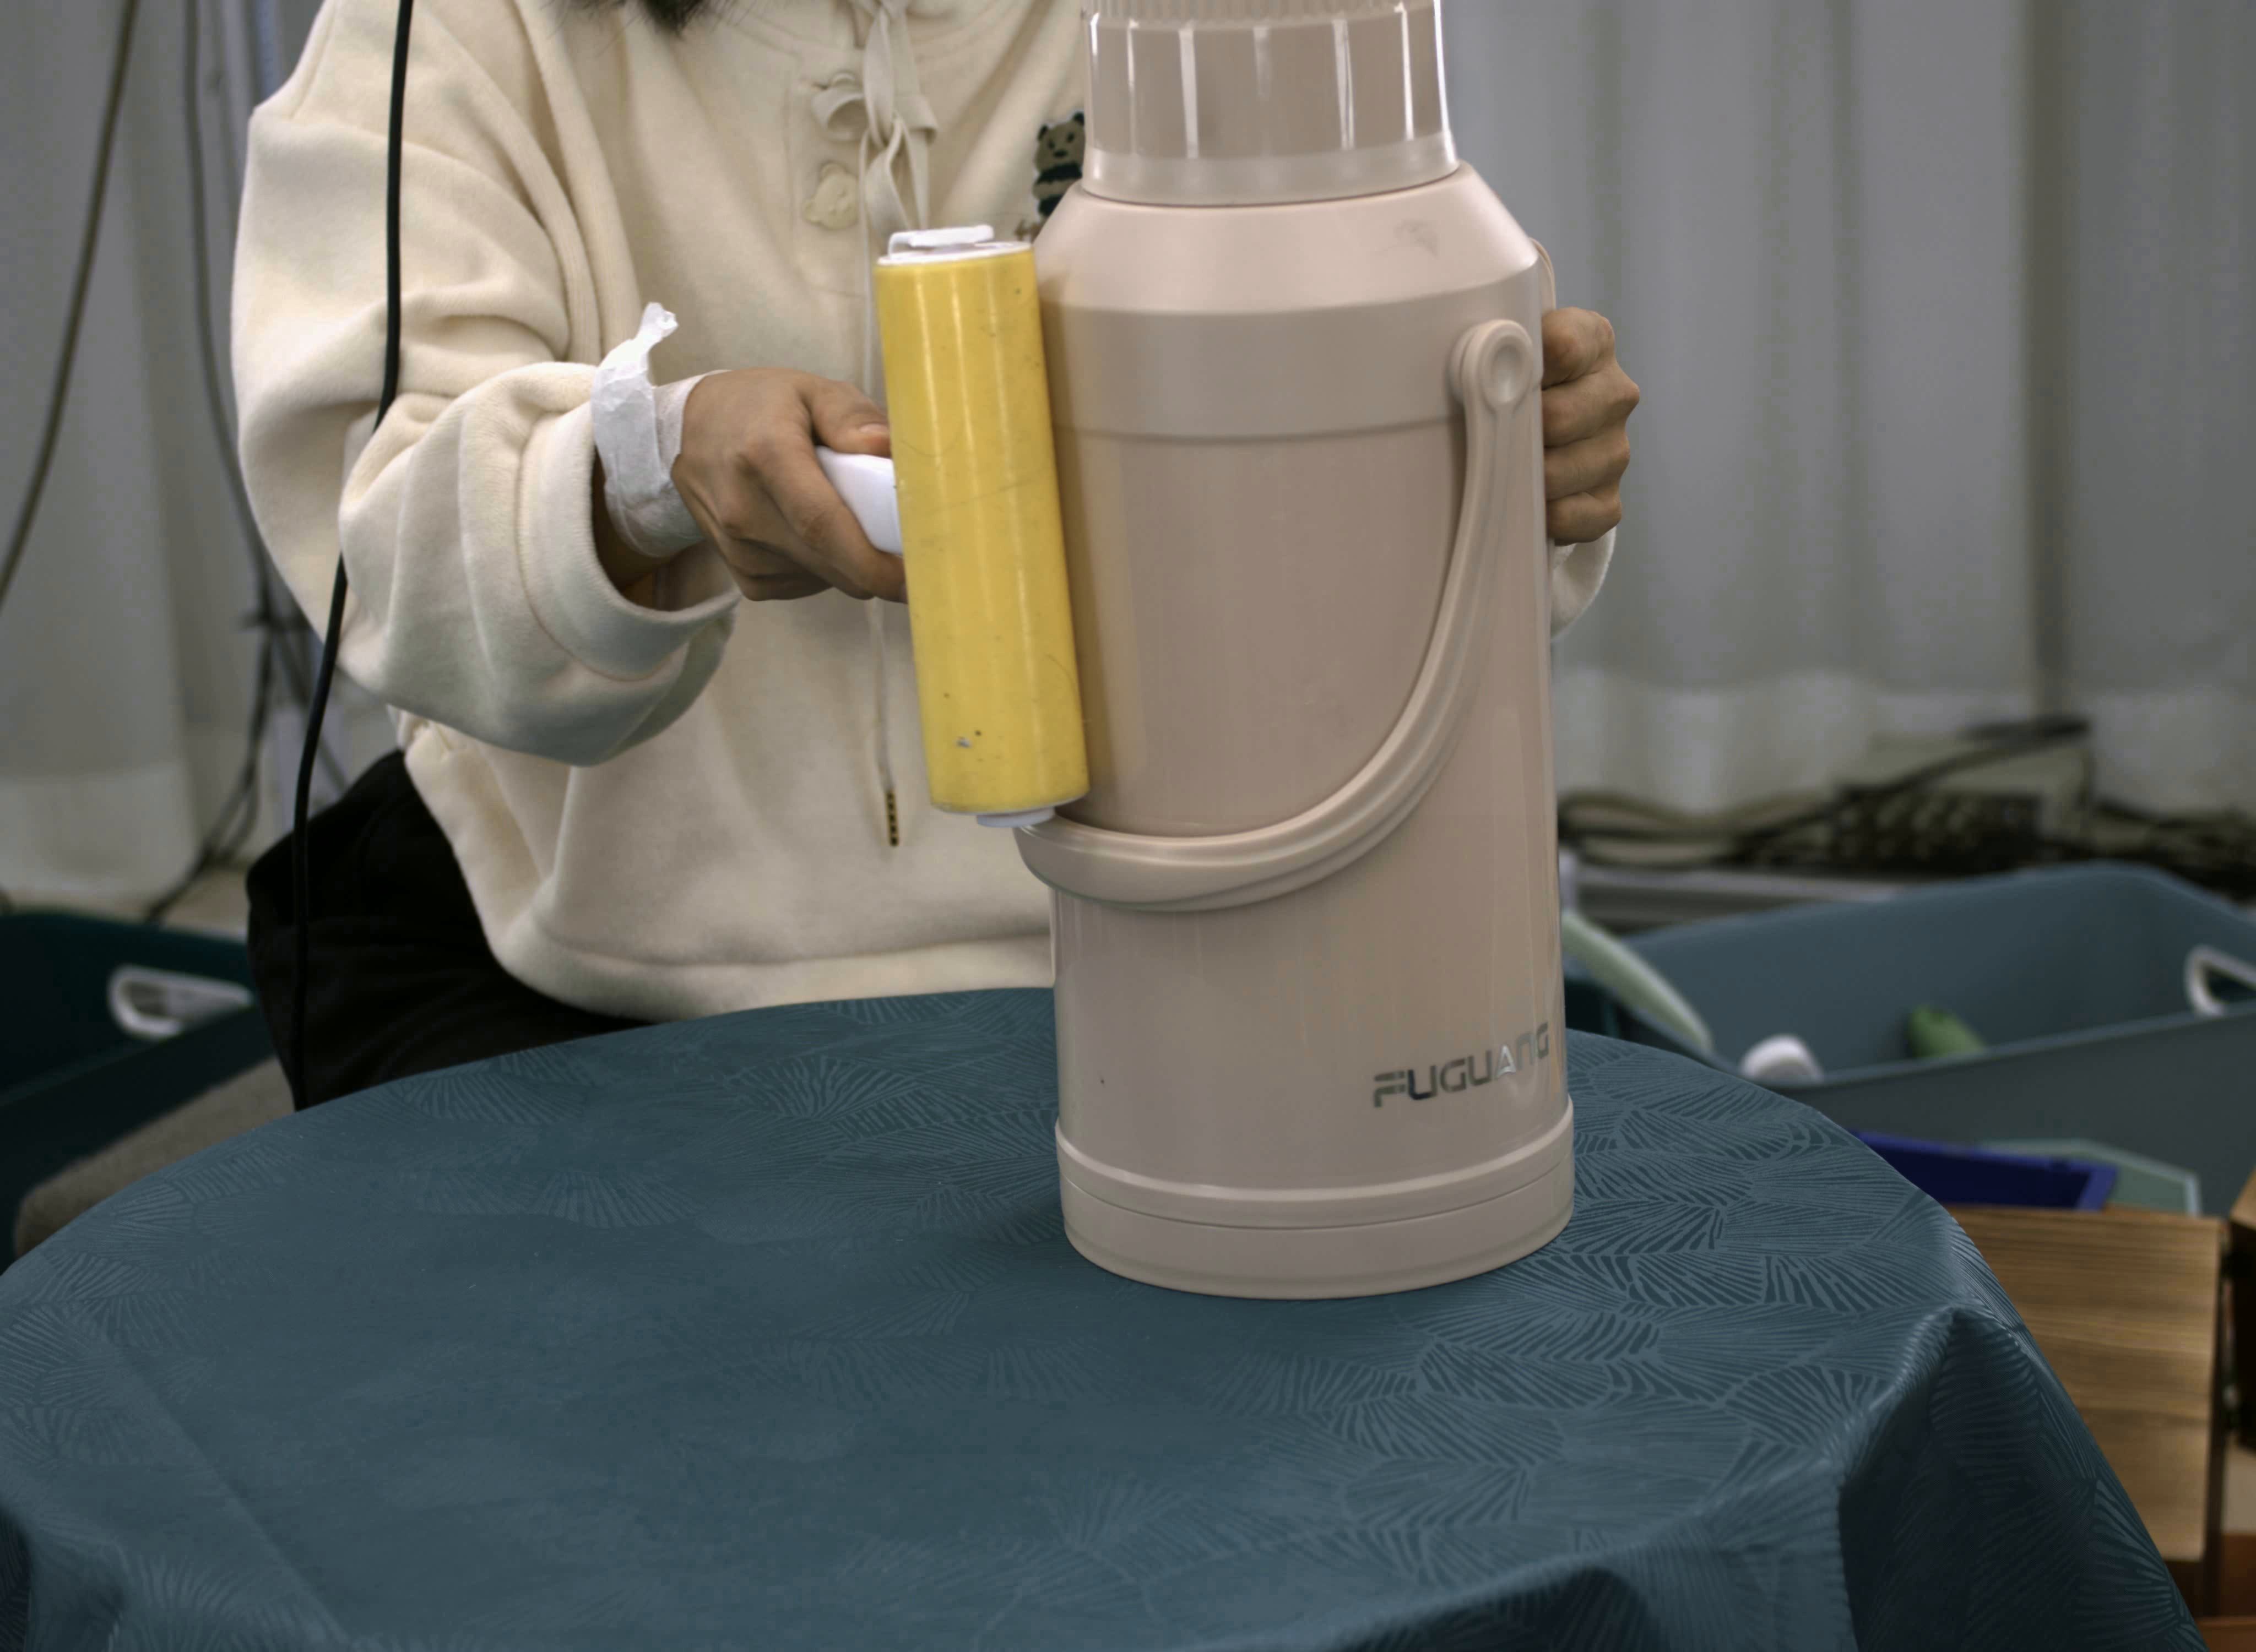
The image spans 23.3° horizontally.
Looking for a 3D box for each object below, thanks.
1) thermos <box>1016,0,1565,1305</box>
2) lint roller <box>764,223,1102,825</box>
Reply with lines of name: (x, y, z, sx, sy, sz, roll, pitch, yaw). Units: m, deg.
thermos: (0.059, -0.074, 1.647, 0.176, 0.405, 0.206, 9, 18, 42)
lint roller: (-0.076, -0.093, 1.648, 0.051, 0.174, 0.193, -11, 9, -33)
